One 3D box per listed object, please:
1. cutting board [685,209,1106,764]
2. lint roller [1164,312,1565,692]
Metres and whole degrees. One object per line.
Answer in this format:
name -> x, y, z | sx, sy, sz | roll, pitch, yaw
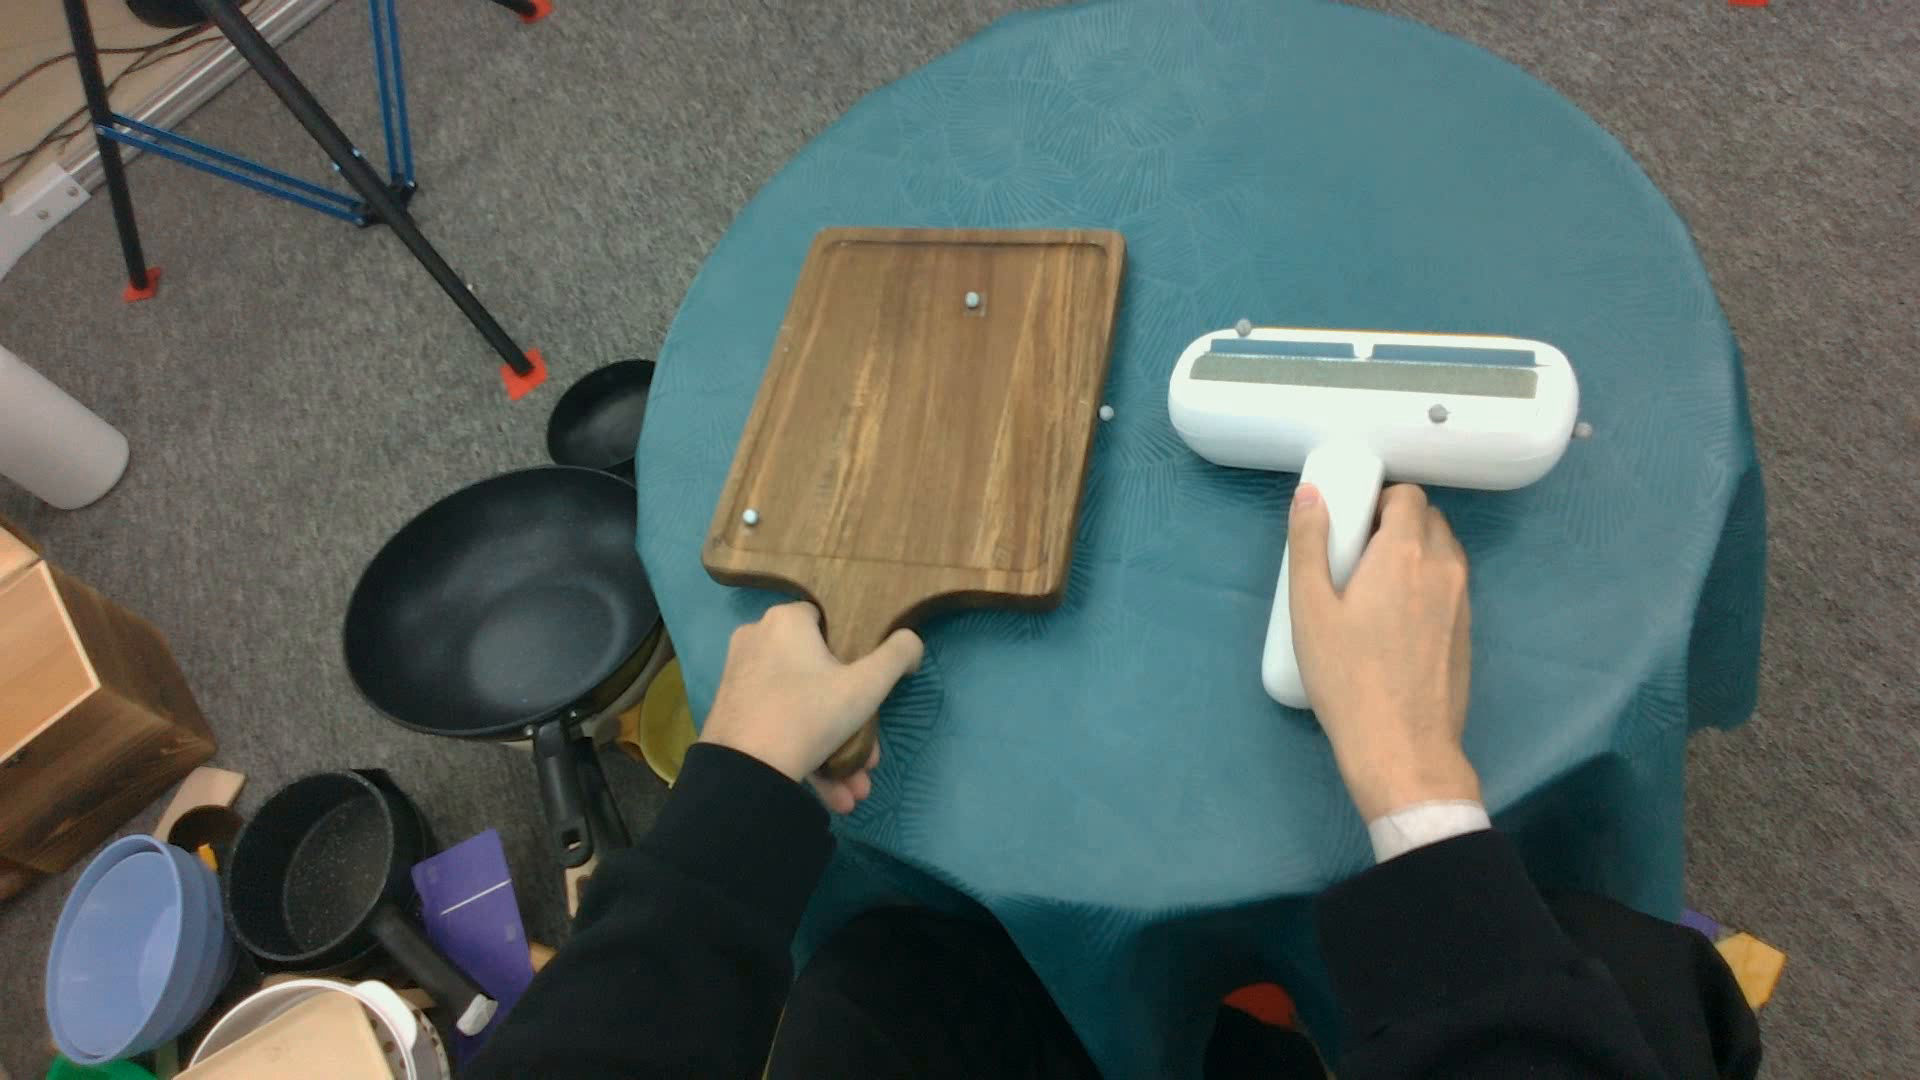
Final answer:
cutting board -> -0.038, -0.046, 0.742 | 0.201, 0.023, 0.354 | 3, 58, 14
lint roller -> 0.174, -0.021, 0.664 | 0.192, 0.074, 0.193 | 13, 65, 28
